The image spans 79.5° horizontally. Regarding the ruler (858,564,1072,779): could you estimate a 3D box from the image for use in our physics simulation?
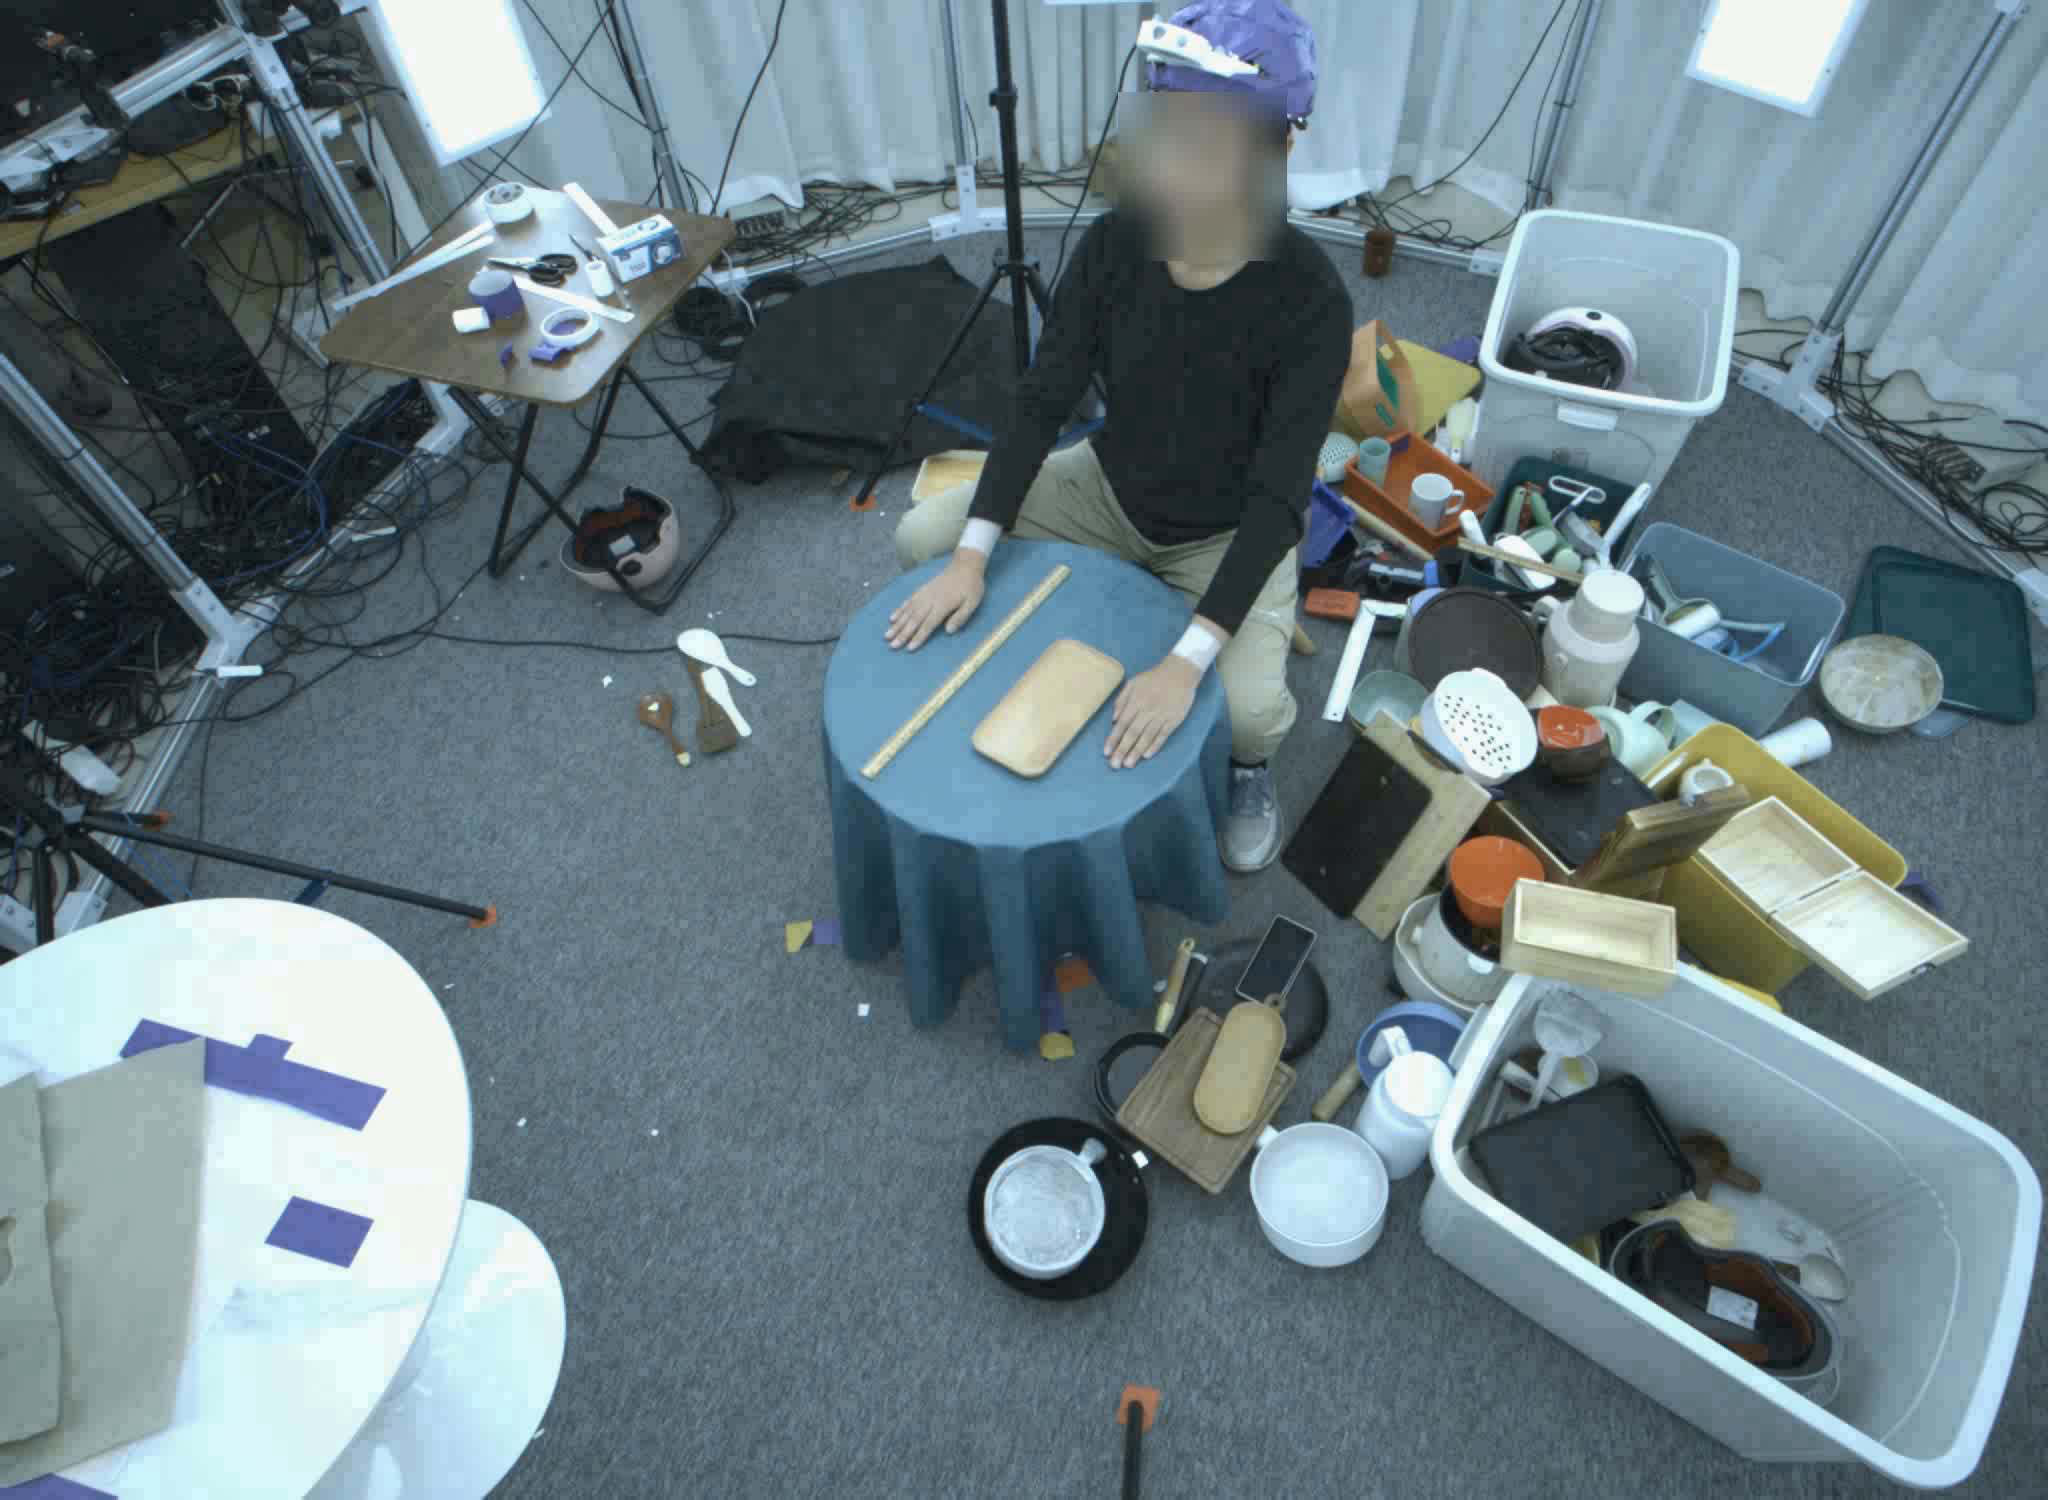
[{"bbox_3d":[-0.081,-0.130,1.879,0.026,0.006,0.503,32,62,19],"label":"ruler"}]

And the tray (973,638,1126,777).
[{"bbox_3d":[0.039,-0.065,1.823,0.128,0.023,0.252,31,60,19],"label":"tray"}]
